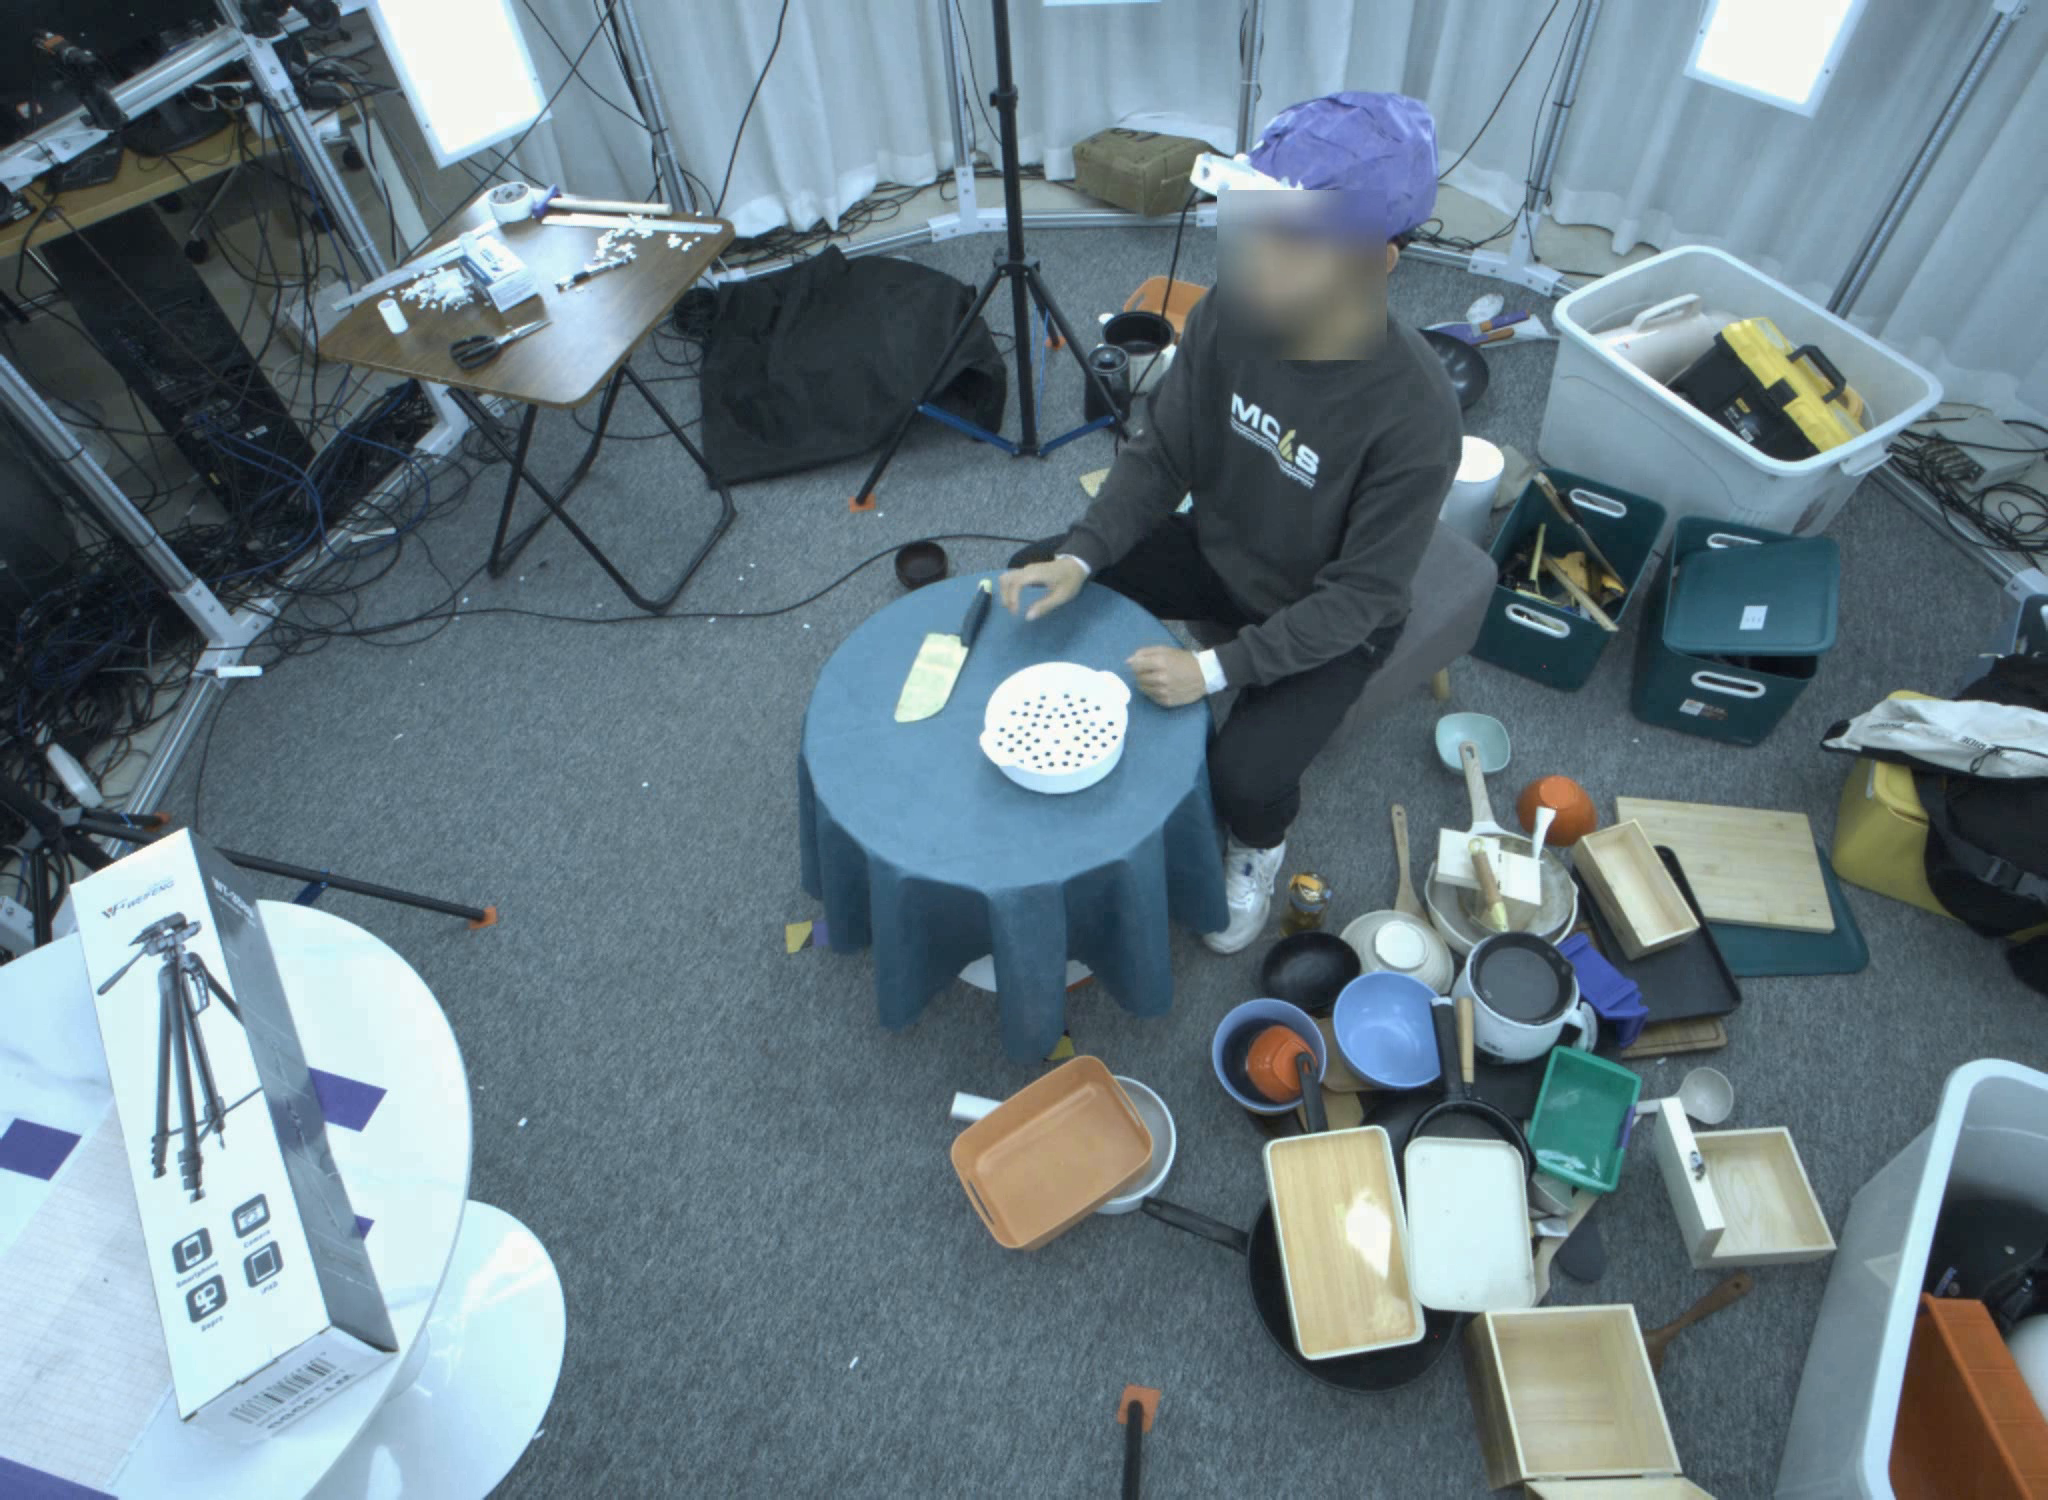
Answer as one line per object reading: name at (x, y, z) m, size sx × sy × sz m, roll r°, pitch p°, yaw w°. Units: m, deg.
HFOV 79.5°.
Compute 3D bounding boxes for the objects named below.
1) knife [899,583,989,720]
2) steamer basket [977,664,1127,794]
knife at (-0.122, -0.156, 1.900) m, size 0.080 × 0.027 × 0.289 m, roll 18°, pitch 58°, yaw 11°
steamer basket at (0.042, -0.029, 1.773) m, size 0.232 × 0.070 × 0.198 m, roll -27°, pitch 59°, yaw -18°
